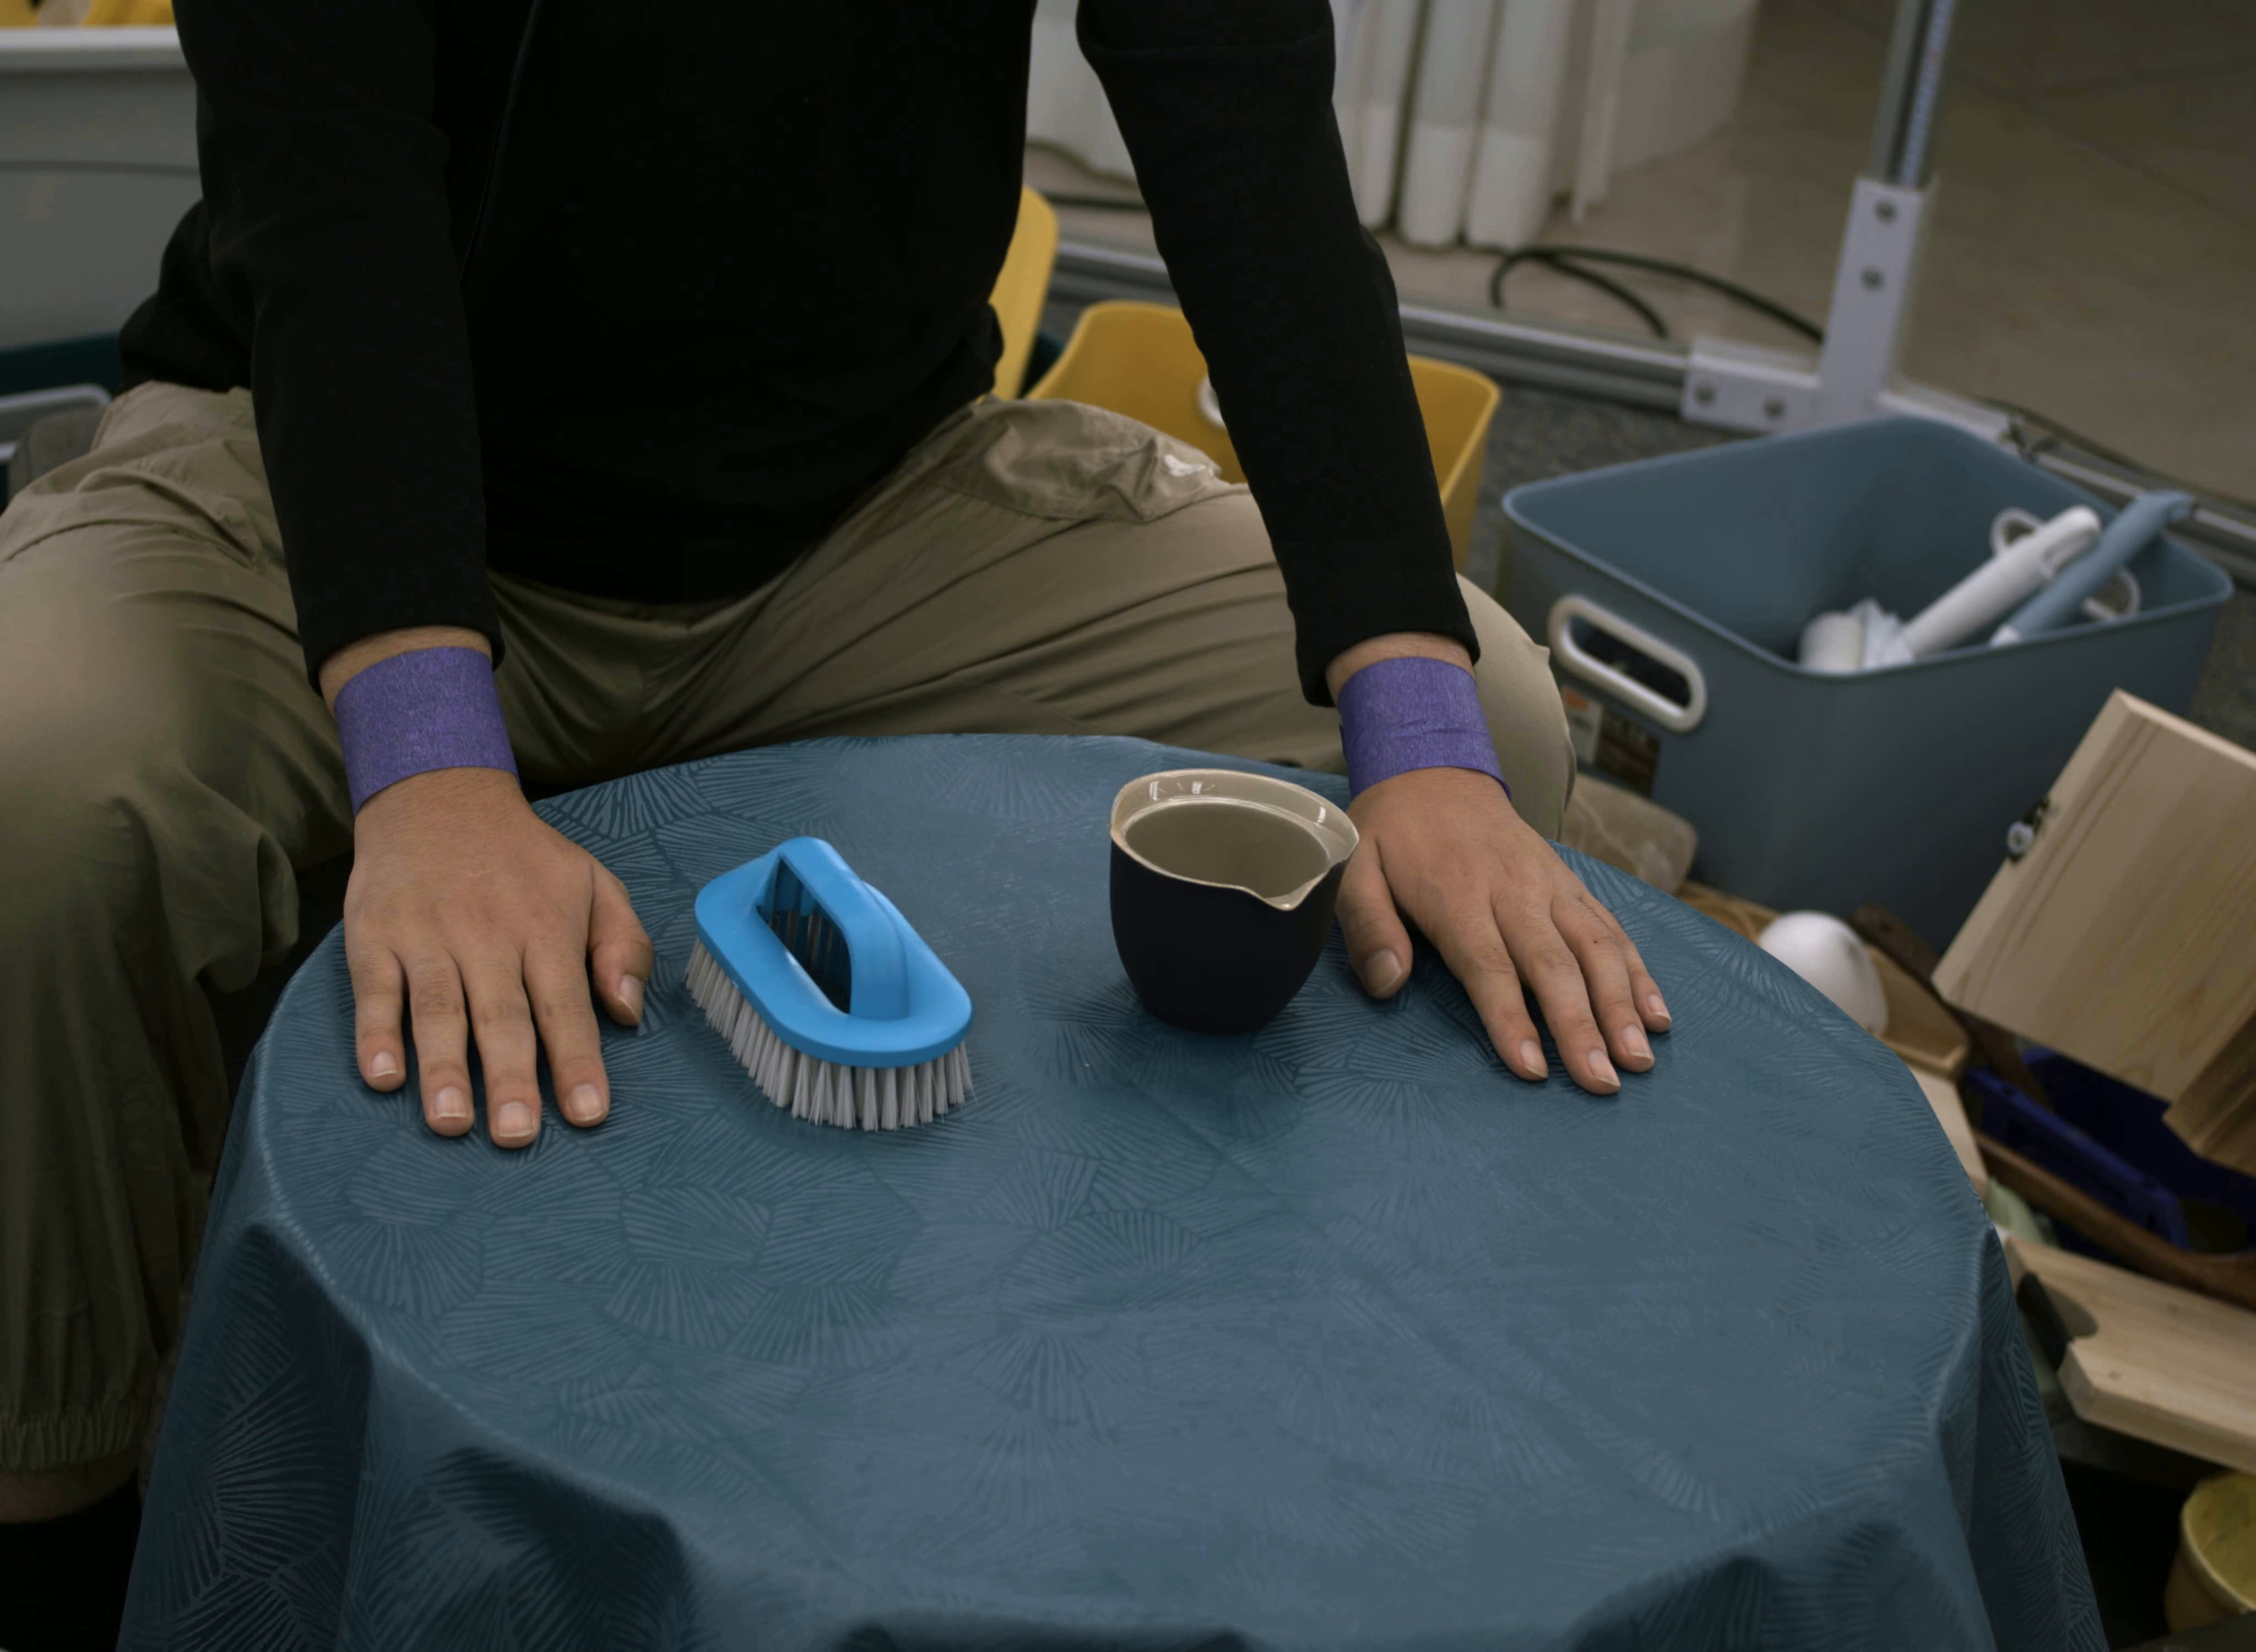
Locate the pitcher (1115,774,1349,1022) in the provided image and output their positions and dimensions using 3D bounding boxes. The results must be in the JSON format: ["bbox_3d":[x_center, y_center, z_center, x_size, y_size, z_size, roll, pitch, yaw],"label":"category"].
[{"bbox_3d":[0.036,0.030,1.910,0.083,0.071,0.097,0,29,-16],"label":"pitcher"}]

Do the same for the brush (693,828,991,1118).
[{"bbox_3d":[-0.102,0.043,1.864,0.084,0.063,0.143,-10,30,-22],"label":"brush"}]
